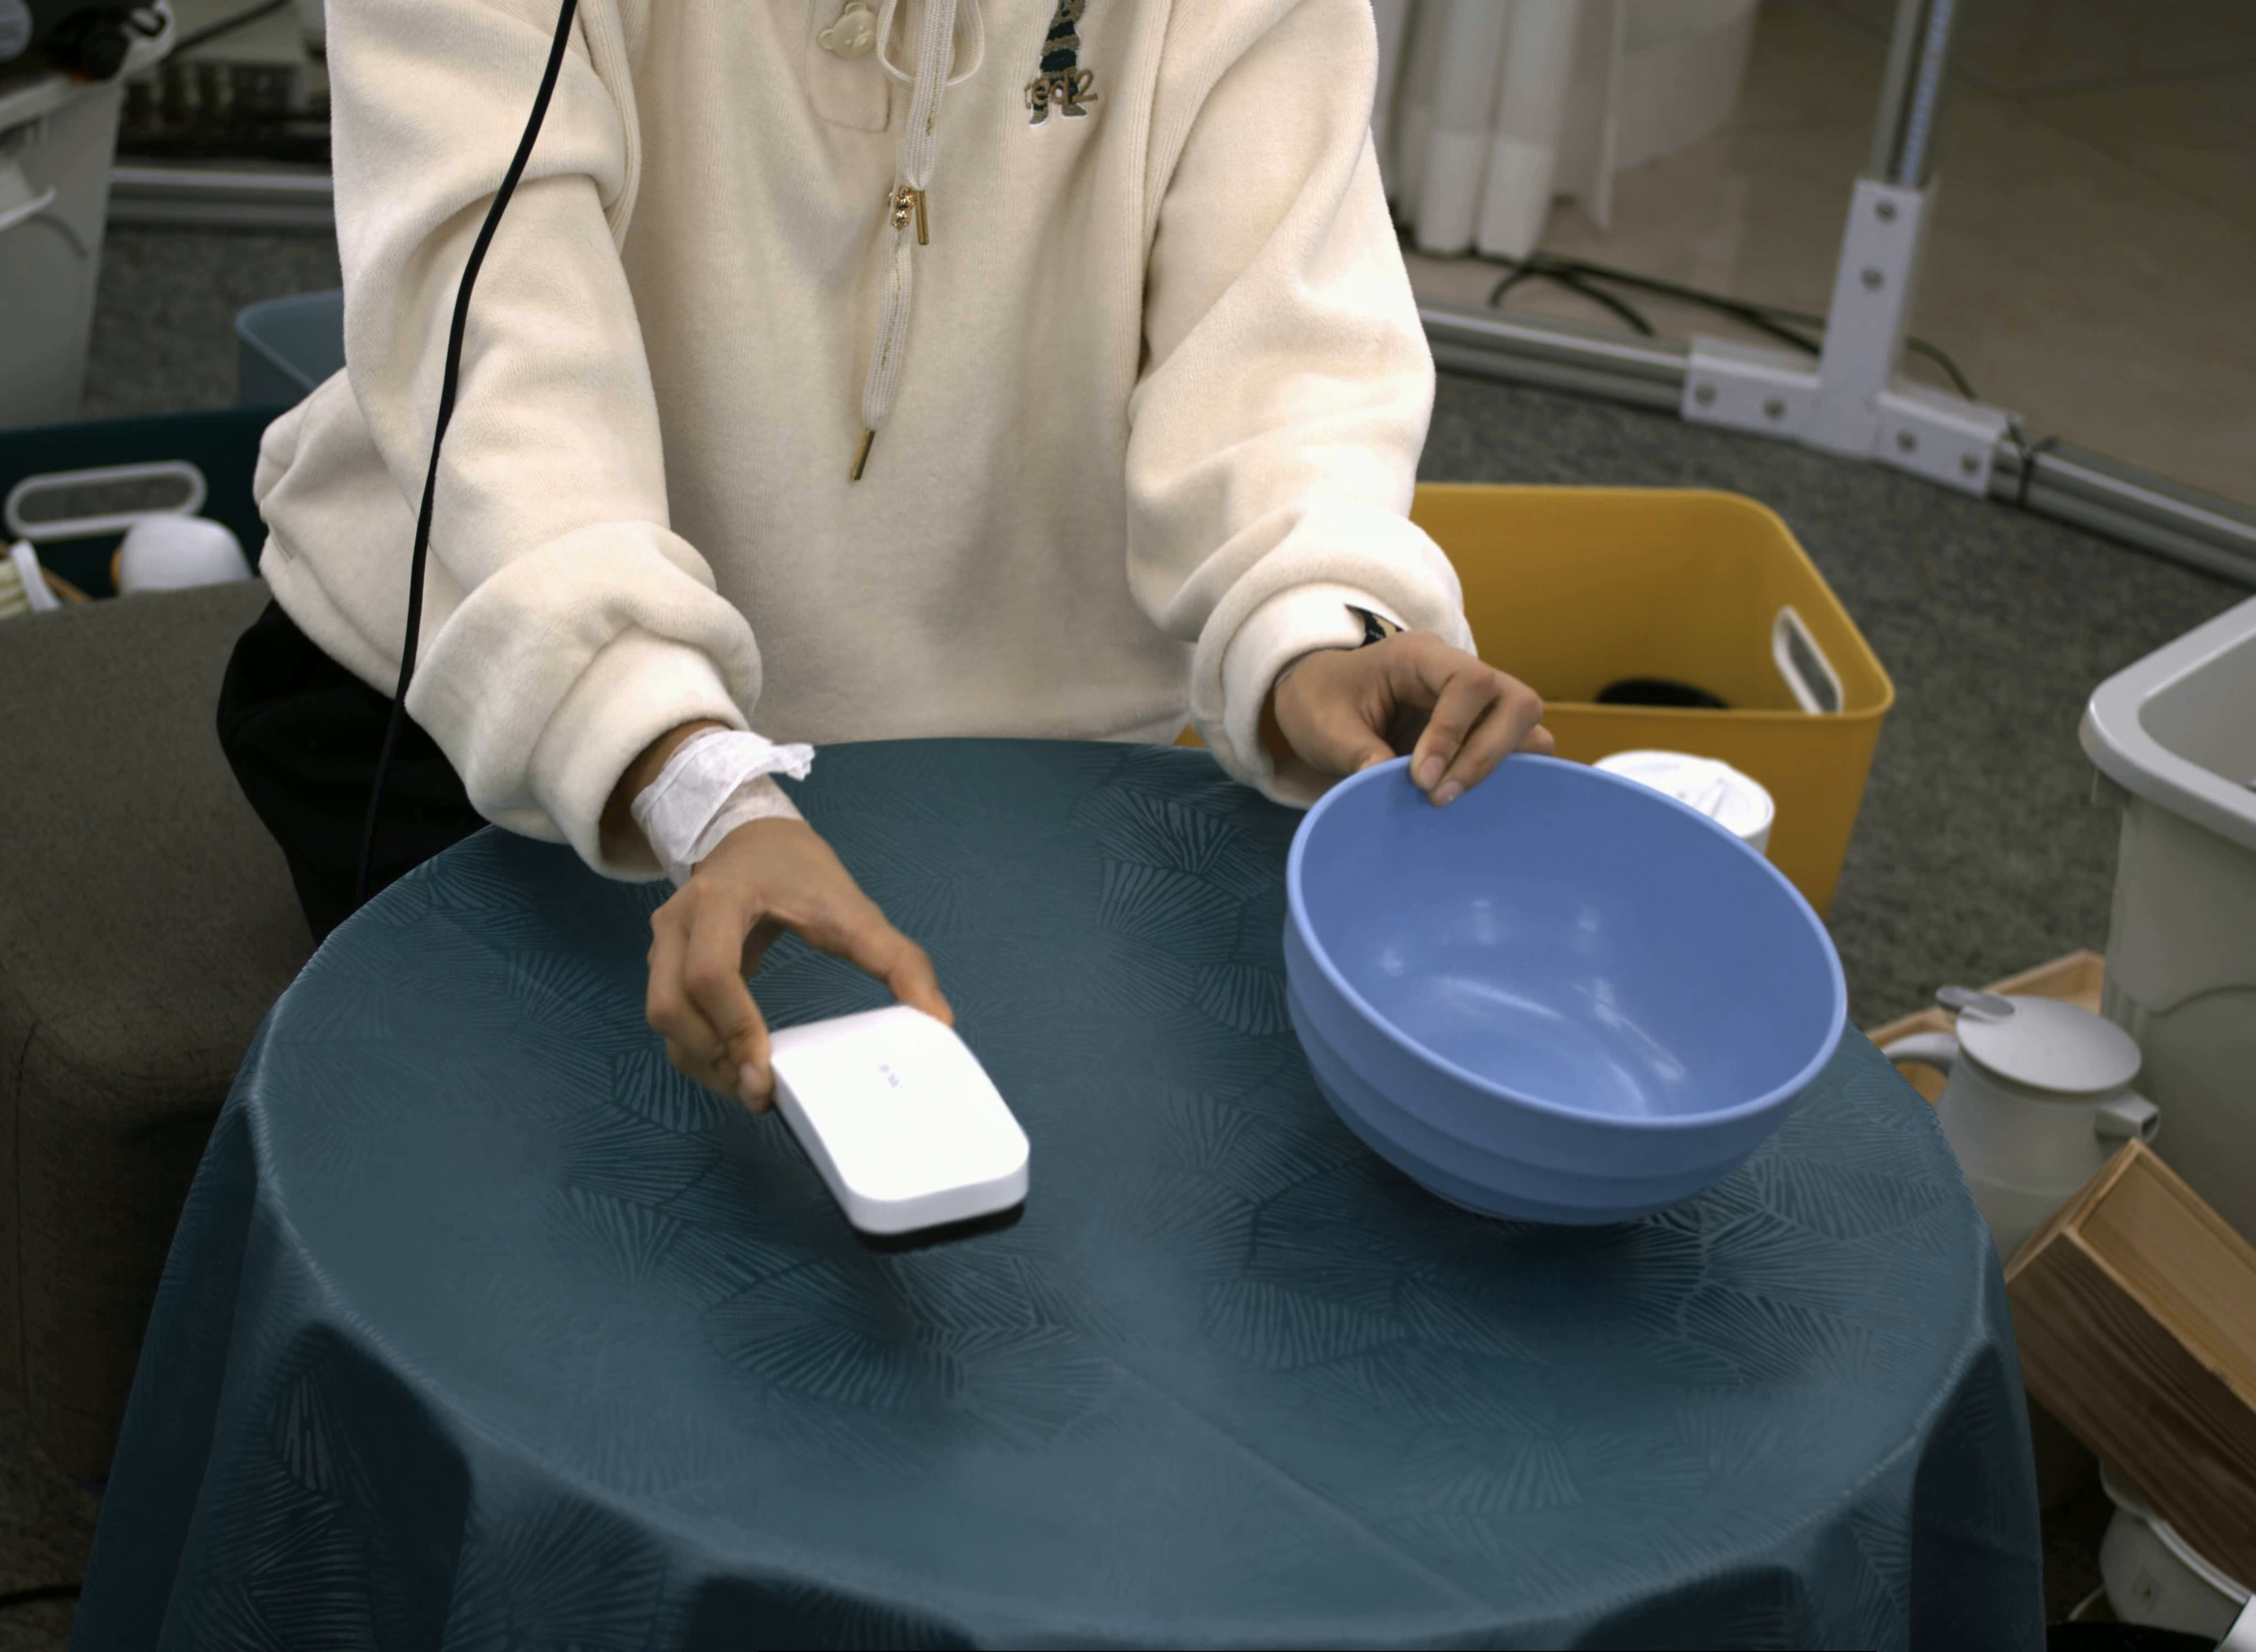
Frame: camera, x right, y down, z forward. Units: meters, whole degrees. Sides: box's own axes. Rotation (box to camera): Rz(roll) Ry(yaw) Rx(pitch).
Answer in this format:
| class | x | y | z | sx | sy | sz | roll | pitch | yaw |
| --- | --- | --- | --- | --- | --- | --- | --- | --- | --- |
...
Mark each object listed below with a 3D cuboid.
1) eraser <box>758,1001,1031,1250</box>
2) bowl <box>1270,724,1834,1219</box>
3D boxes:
| class | x | y | z | sx | sy | sz | roll | pitch | yaw |
| --- | --- | --- | --- | --- | --- | --- | --- | --- | --- |
| eraser | -0.075 | 0.092 | 1.714 | 0.063 | 0.034 | 0.132 | -11 | 25 | -15 |
| bowl | 0.134 | 0.065 | 1.820 | 0.195 | 0.095 | 0.198 | 9 | 41 | -9 |
